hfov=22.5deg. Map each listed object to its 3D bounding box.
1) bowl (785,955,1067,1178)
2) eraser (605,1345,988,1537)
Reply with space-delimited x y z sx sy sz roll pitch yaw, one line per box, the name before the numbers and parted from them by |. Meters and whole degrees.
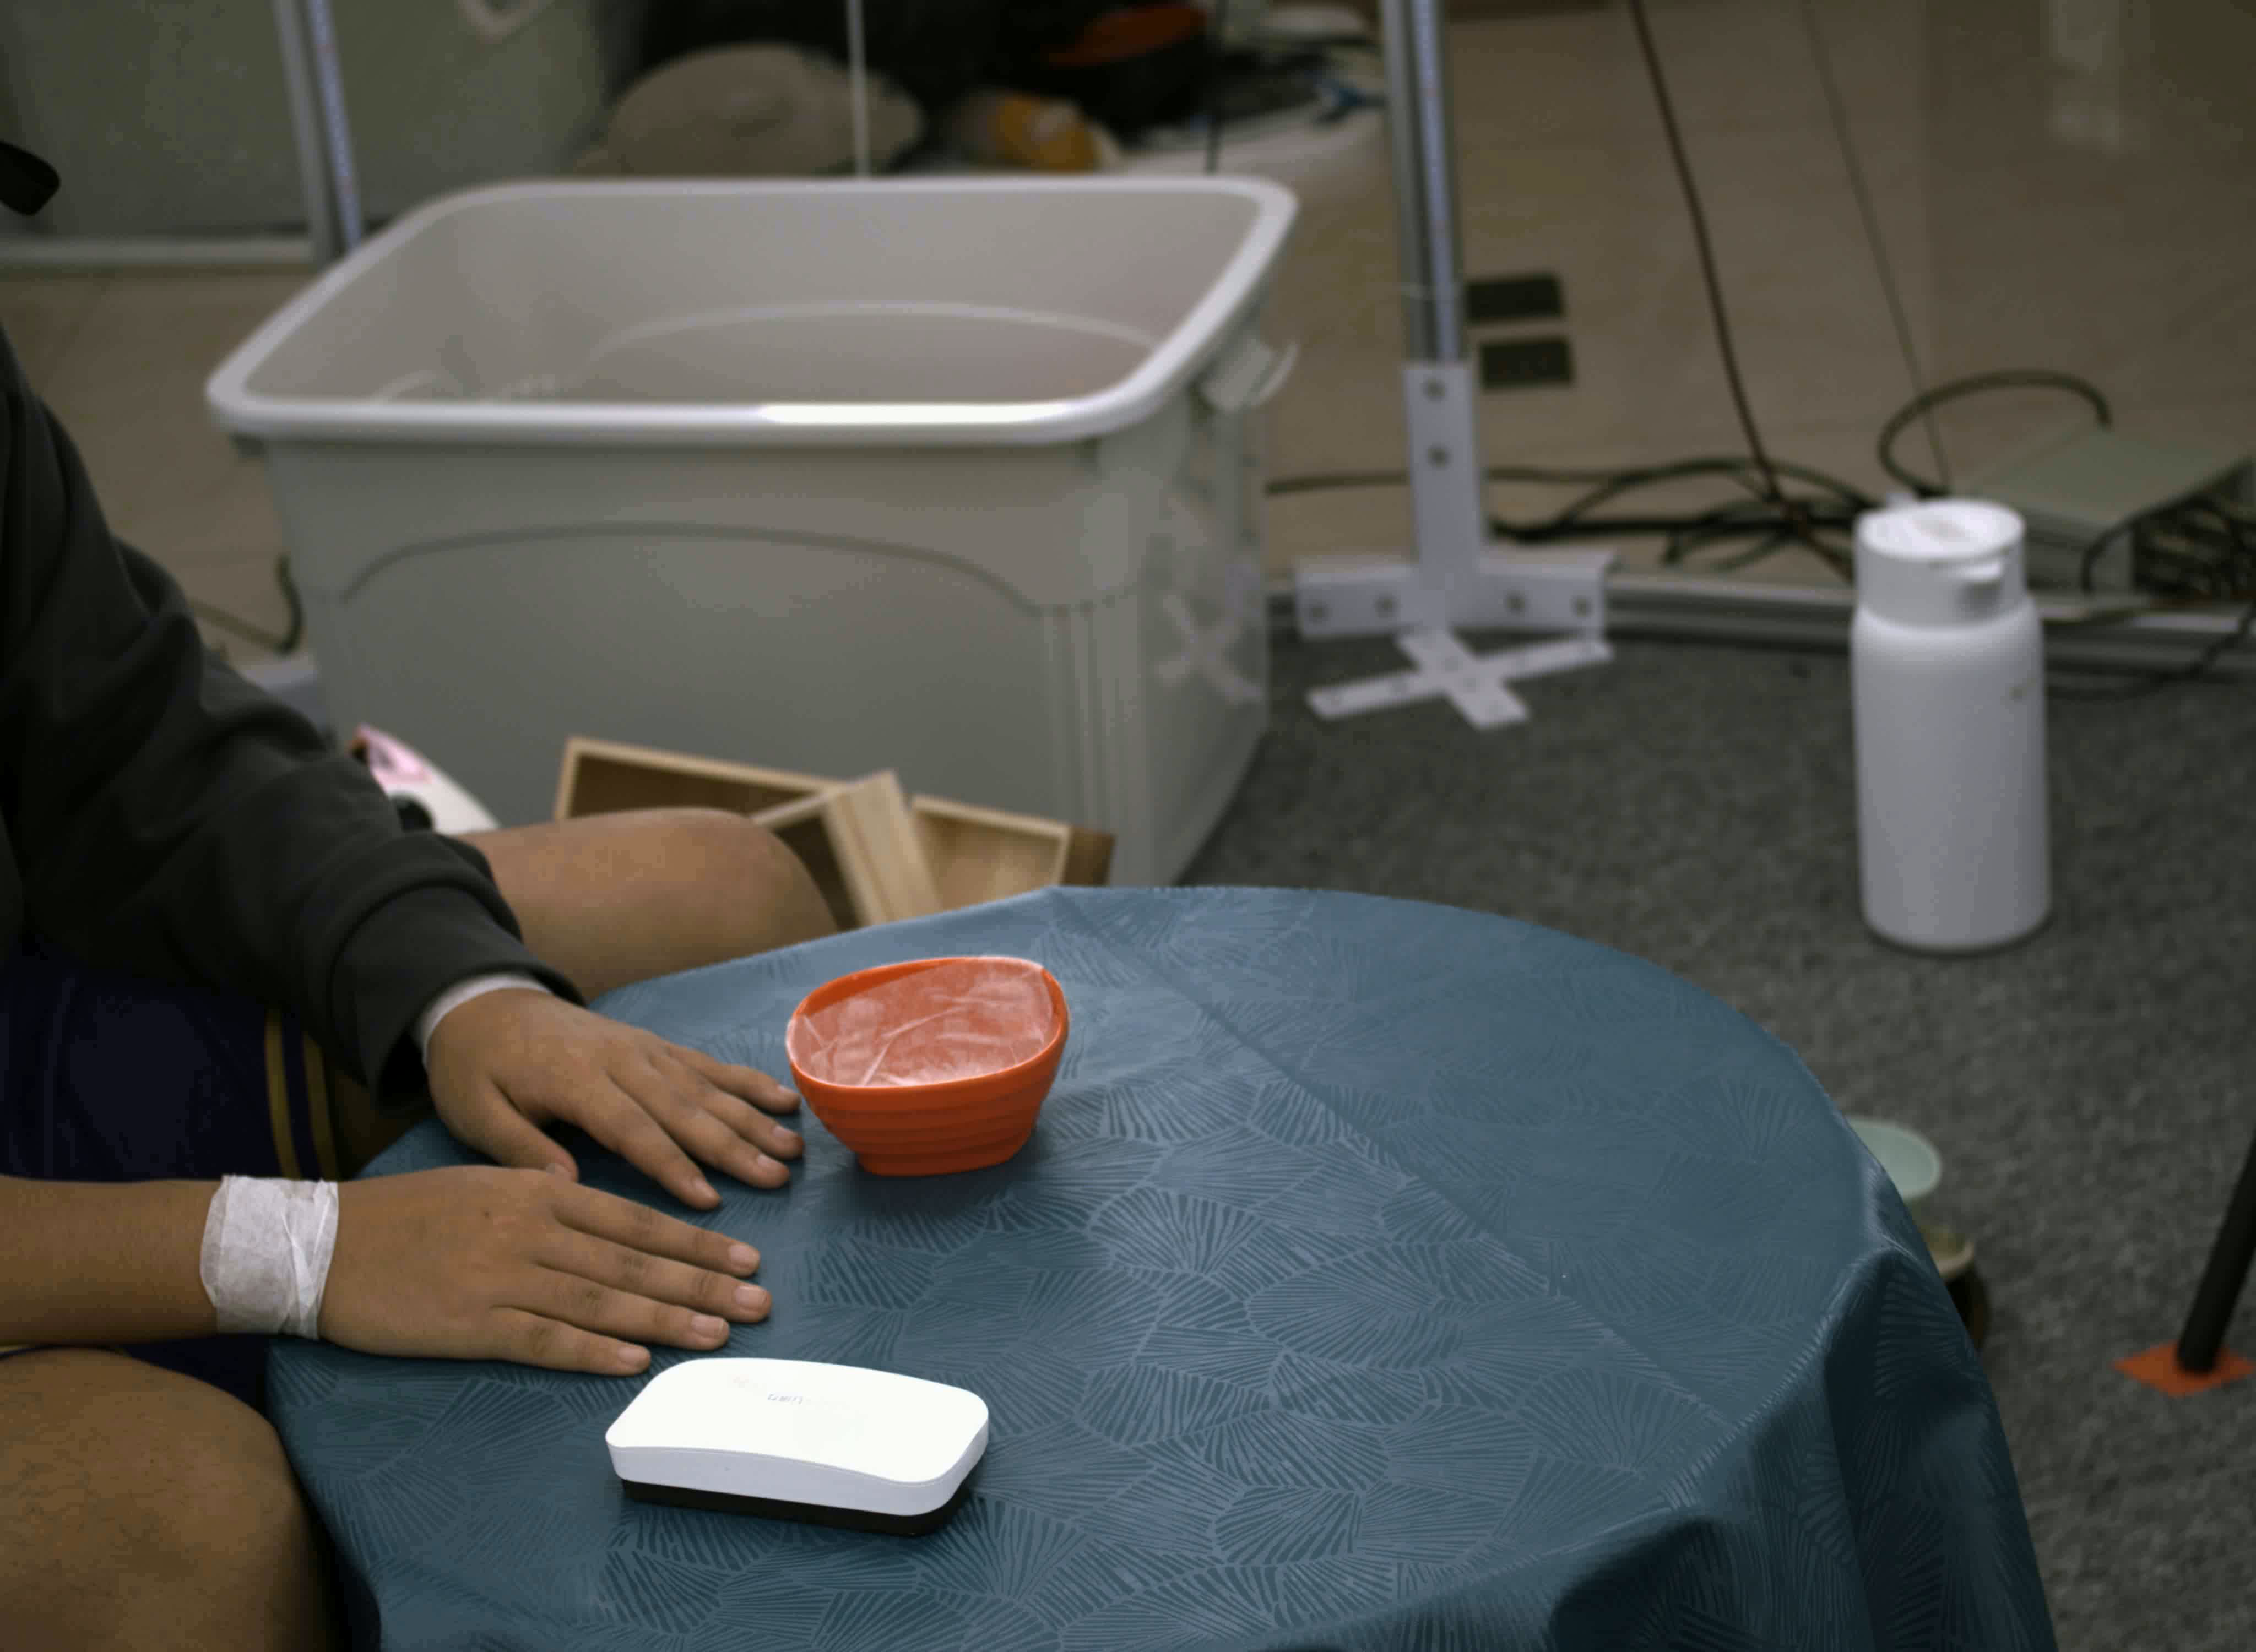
bowl | -0.076 0.098 2.194 0.119 0.052 0.117 -6 26 3
eraser | -0.115 0.213 1.978 0.131 0.035 0.062 7 27 23
